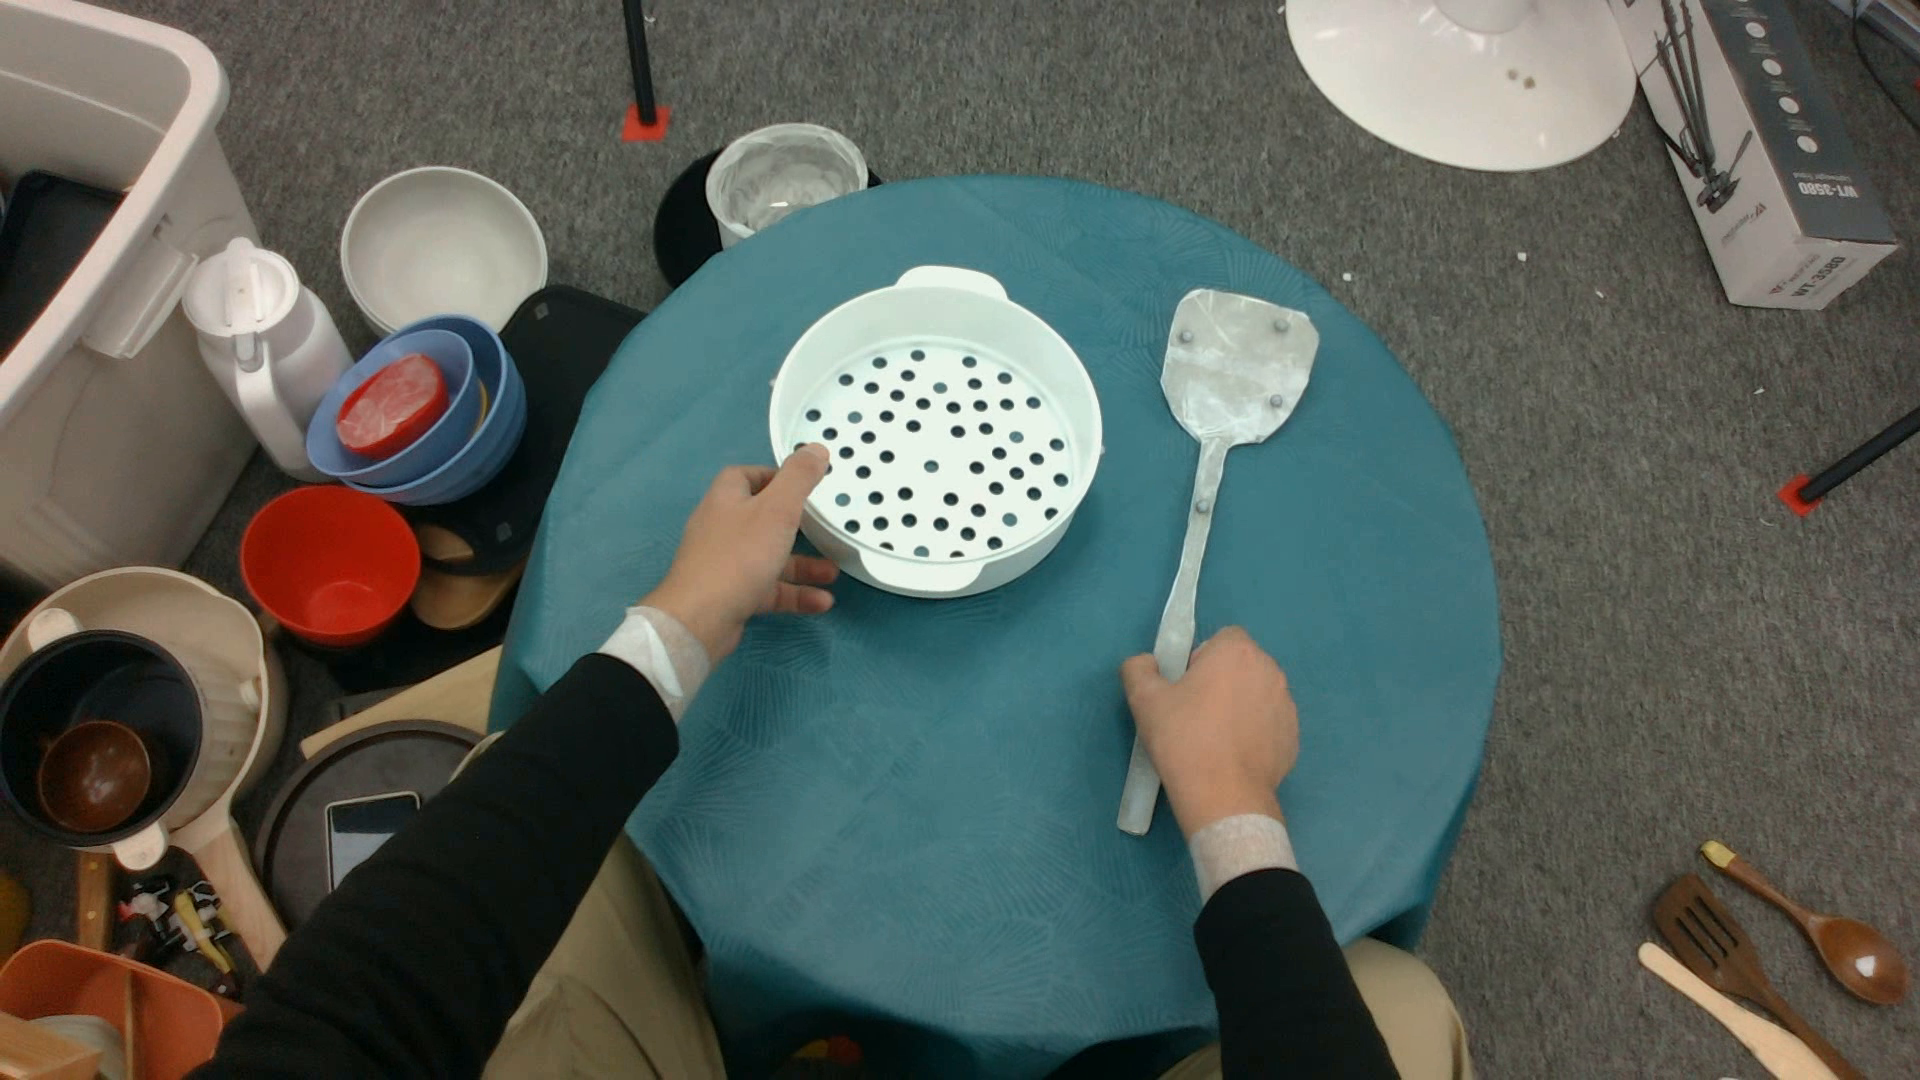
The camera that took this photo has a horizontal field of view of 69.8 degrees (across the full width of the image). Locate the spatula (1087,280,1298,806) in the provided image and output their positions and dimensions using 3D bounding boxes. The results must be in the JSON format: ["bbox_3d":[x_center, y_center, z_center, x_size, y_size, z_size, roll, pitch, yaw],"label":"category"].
[{"bbox_3d":[0.134,-0.007,0.857,0.098,0.044,0.366,16,62,2],"label":"spatula"}]

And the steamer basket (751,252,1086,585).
[{"bbox_3d":[-0.026,-0.069,0.854,0.202,0.069,0.231,7,63,-2],"label":"steamer basket"}]
